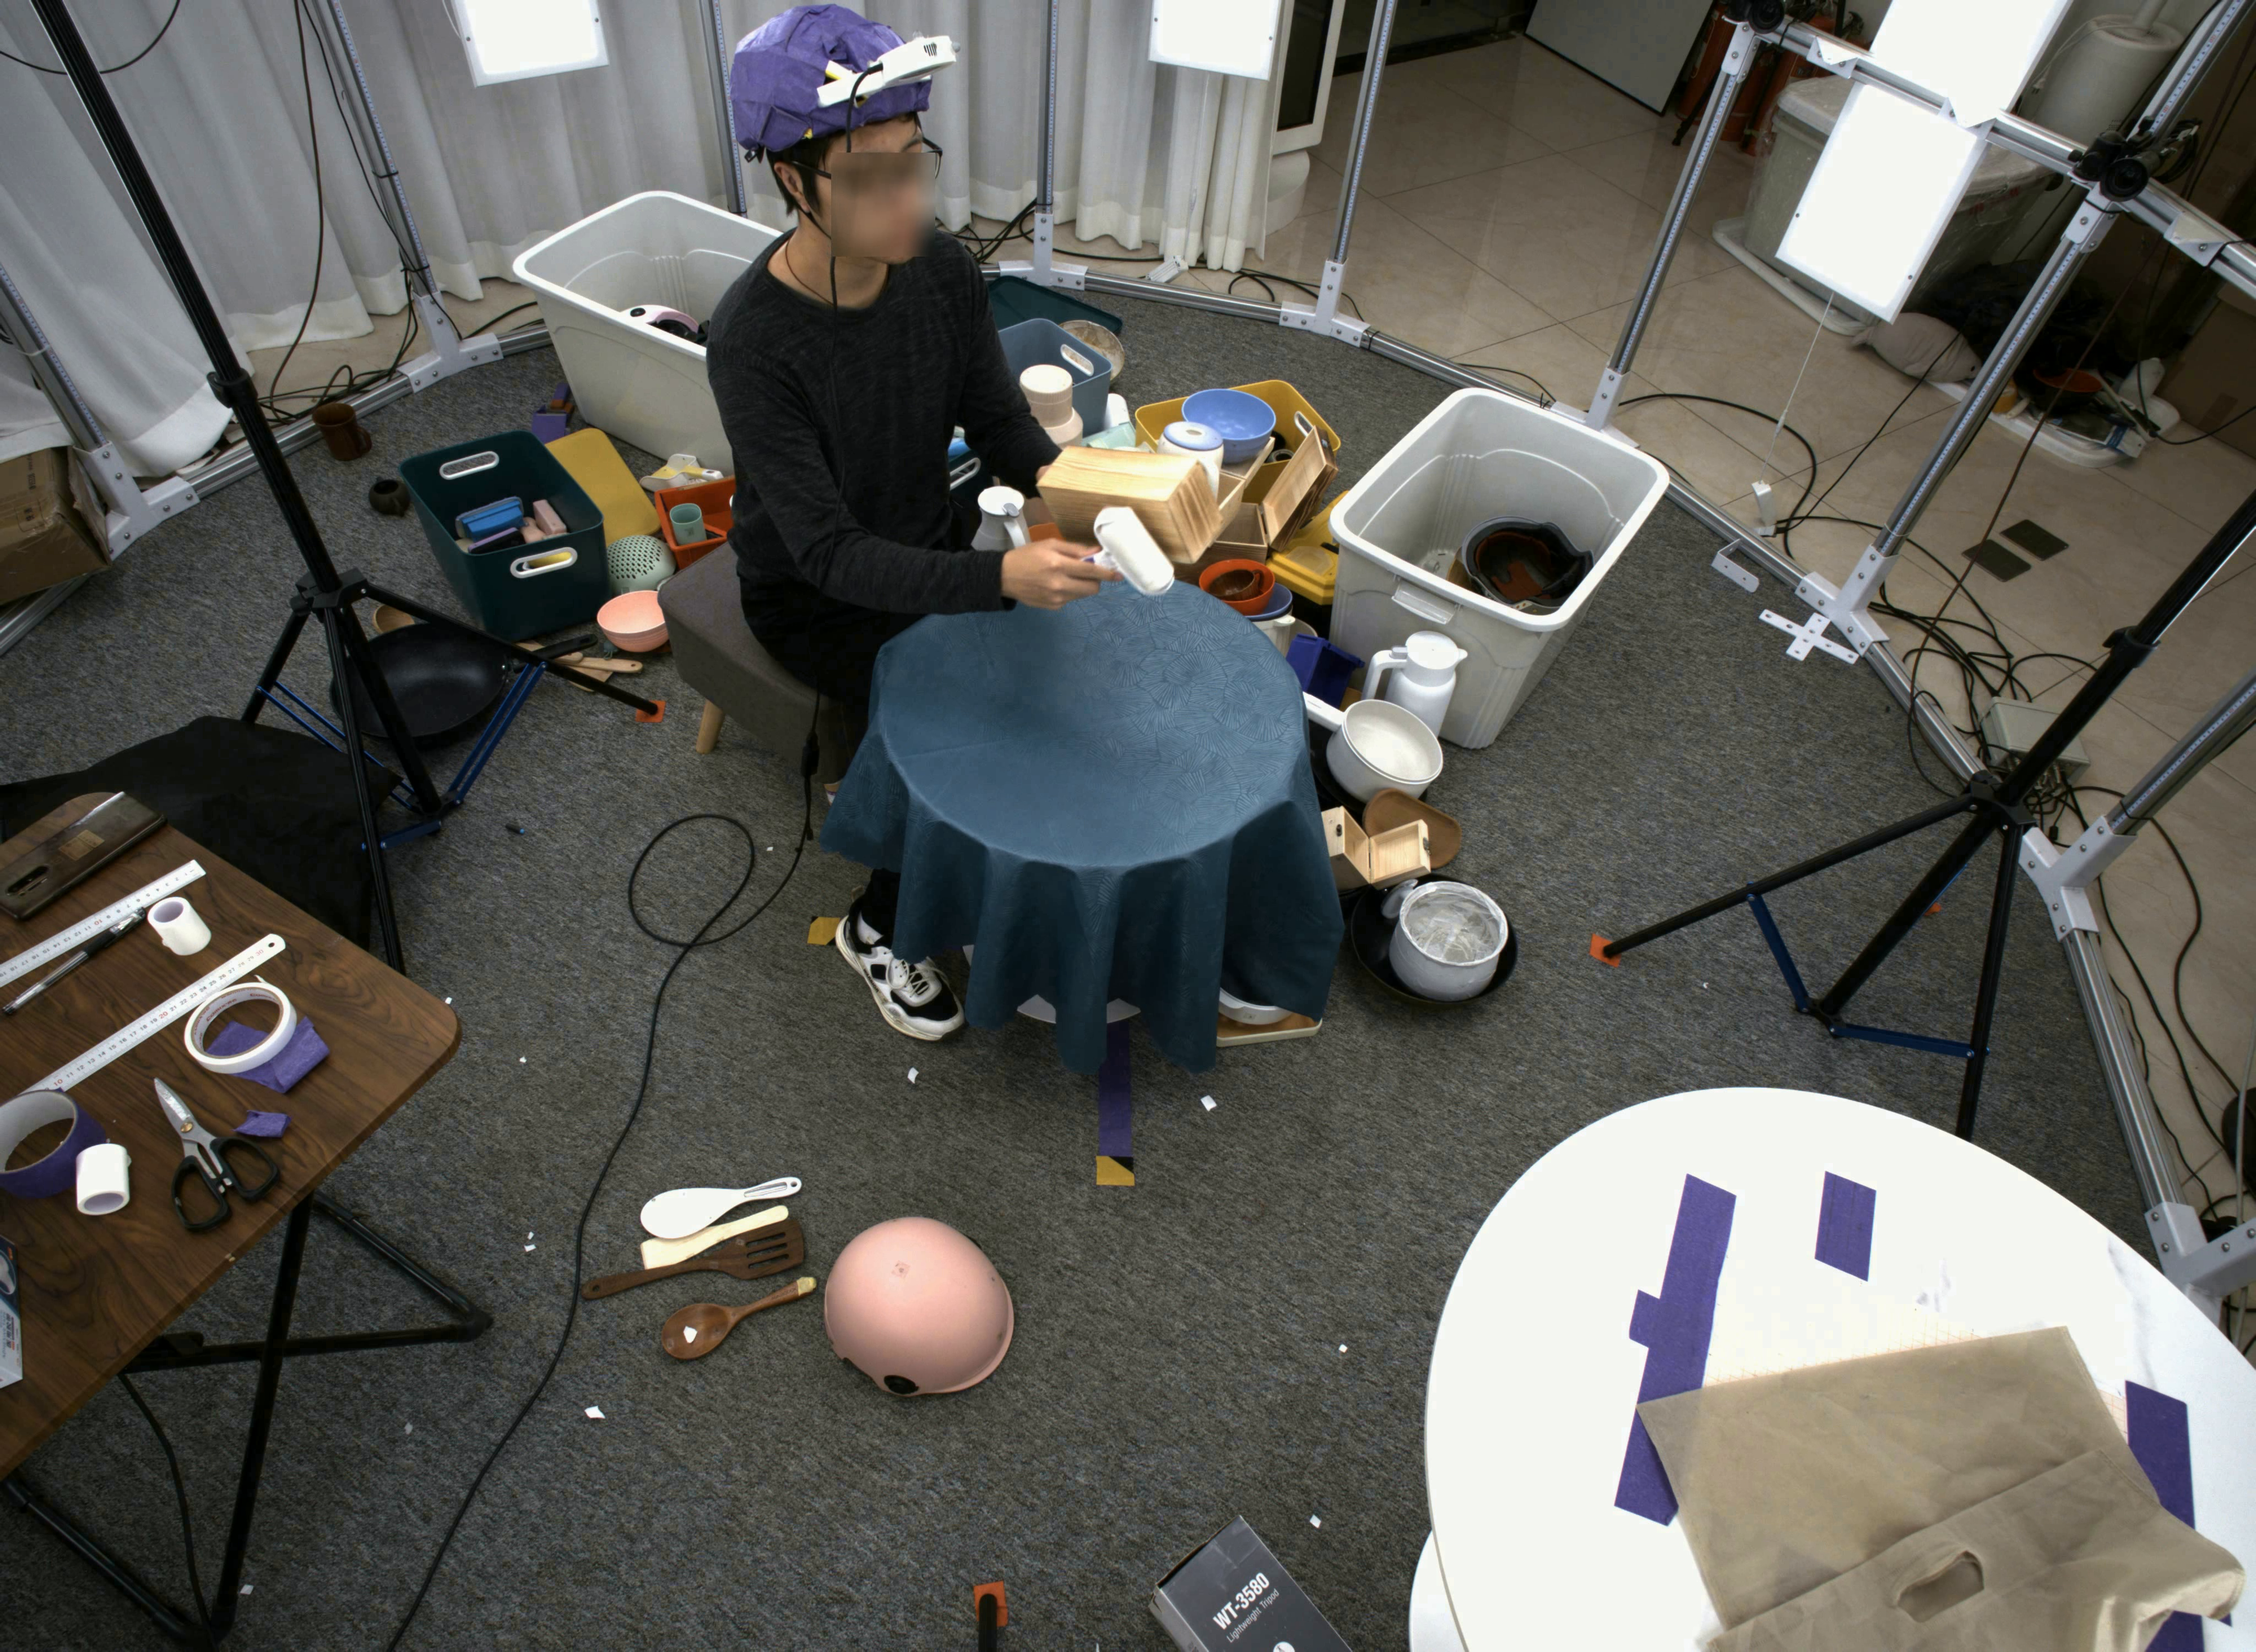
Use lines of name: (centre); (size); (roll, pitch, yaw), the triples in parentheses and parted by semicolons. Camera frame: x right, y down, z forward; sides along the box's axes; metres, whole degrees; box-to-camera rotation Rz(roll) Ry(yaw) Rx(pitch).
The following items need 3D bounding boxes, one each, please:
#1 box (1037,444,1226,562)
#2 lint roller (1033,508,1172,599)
box: (0.004, -0.411, 1.636); (0.213, 0.105, 0.081); (17, 62, 35)
lint roller: (-0.047, -0.316, 1.601); (0.180, 0.130, 0.051); (-18, 44, 25)
